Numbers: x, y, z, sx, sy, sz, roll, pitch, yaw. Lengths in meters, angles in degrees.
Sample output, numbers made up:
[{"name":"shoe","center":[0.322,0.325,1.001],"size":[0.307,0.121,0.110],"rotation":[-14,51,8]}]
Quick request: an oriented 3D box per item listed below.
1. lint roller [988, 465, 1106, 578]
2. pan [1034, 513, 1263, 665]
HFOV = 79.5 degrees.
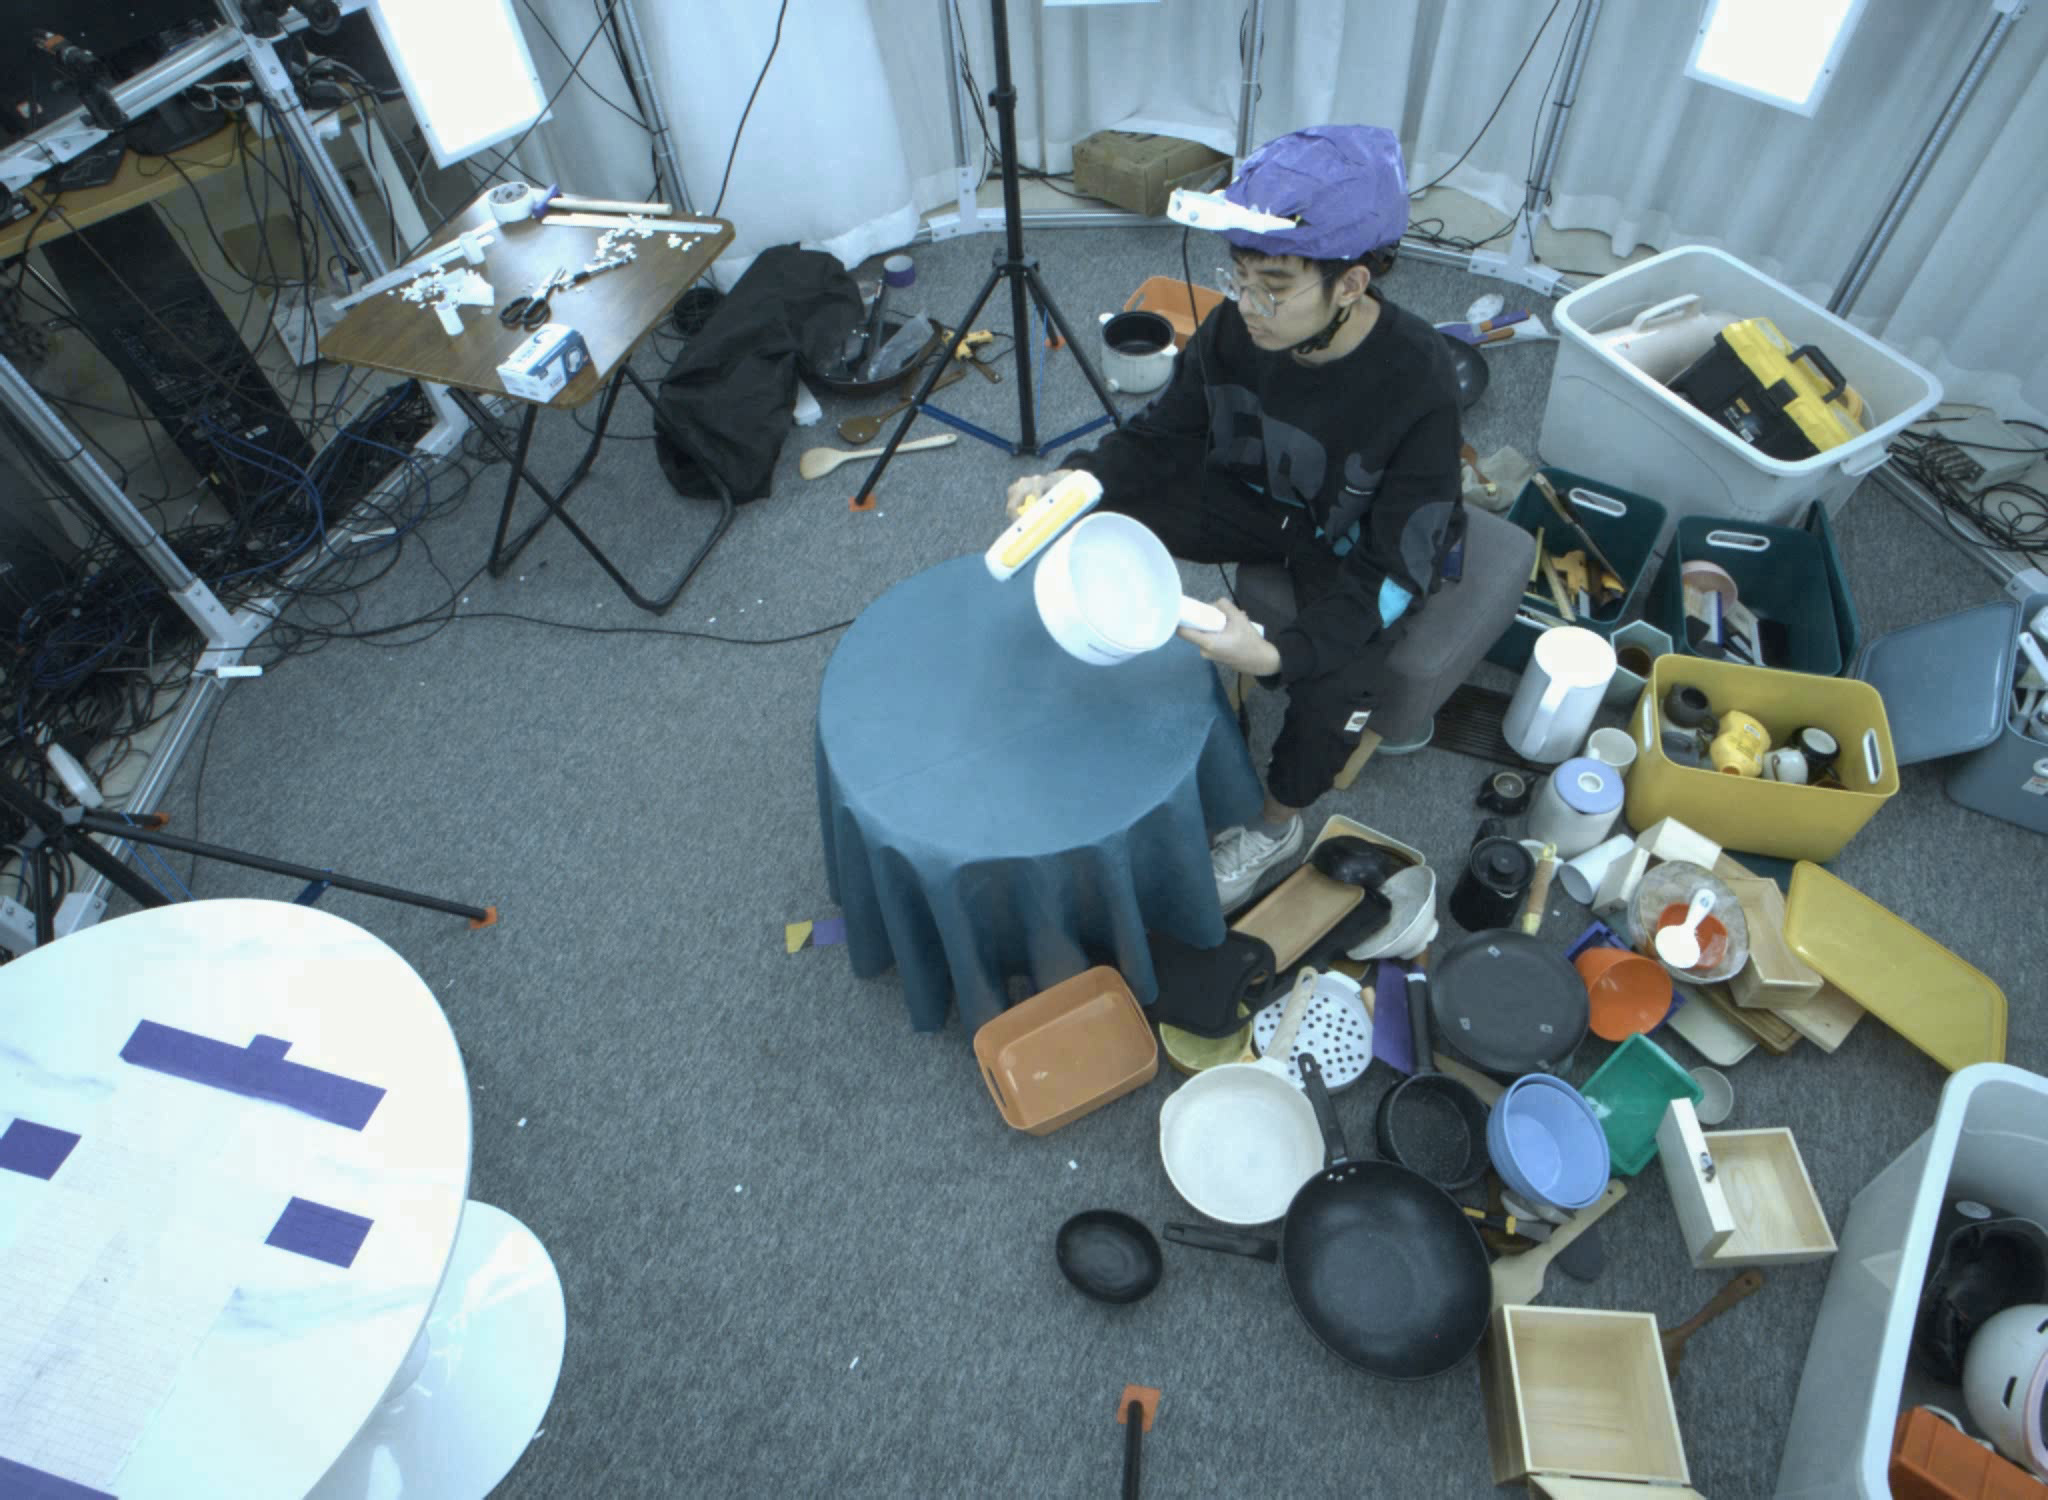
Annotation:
[{"name":"lint roller","center":[0.023,-0.329,1.728],"size":[0.075,0.191,0.192],"rotation":[43,97,-11]},{"name":"pan","center":[0.175,-0.198,1.731],"size":[0.362,0.100,0.200],"rotation":[16,66,-31]}]
